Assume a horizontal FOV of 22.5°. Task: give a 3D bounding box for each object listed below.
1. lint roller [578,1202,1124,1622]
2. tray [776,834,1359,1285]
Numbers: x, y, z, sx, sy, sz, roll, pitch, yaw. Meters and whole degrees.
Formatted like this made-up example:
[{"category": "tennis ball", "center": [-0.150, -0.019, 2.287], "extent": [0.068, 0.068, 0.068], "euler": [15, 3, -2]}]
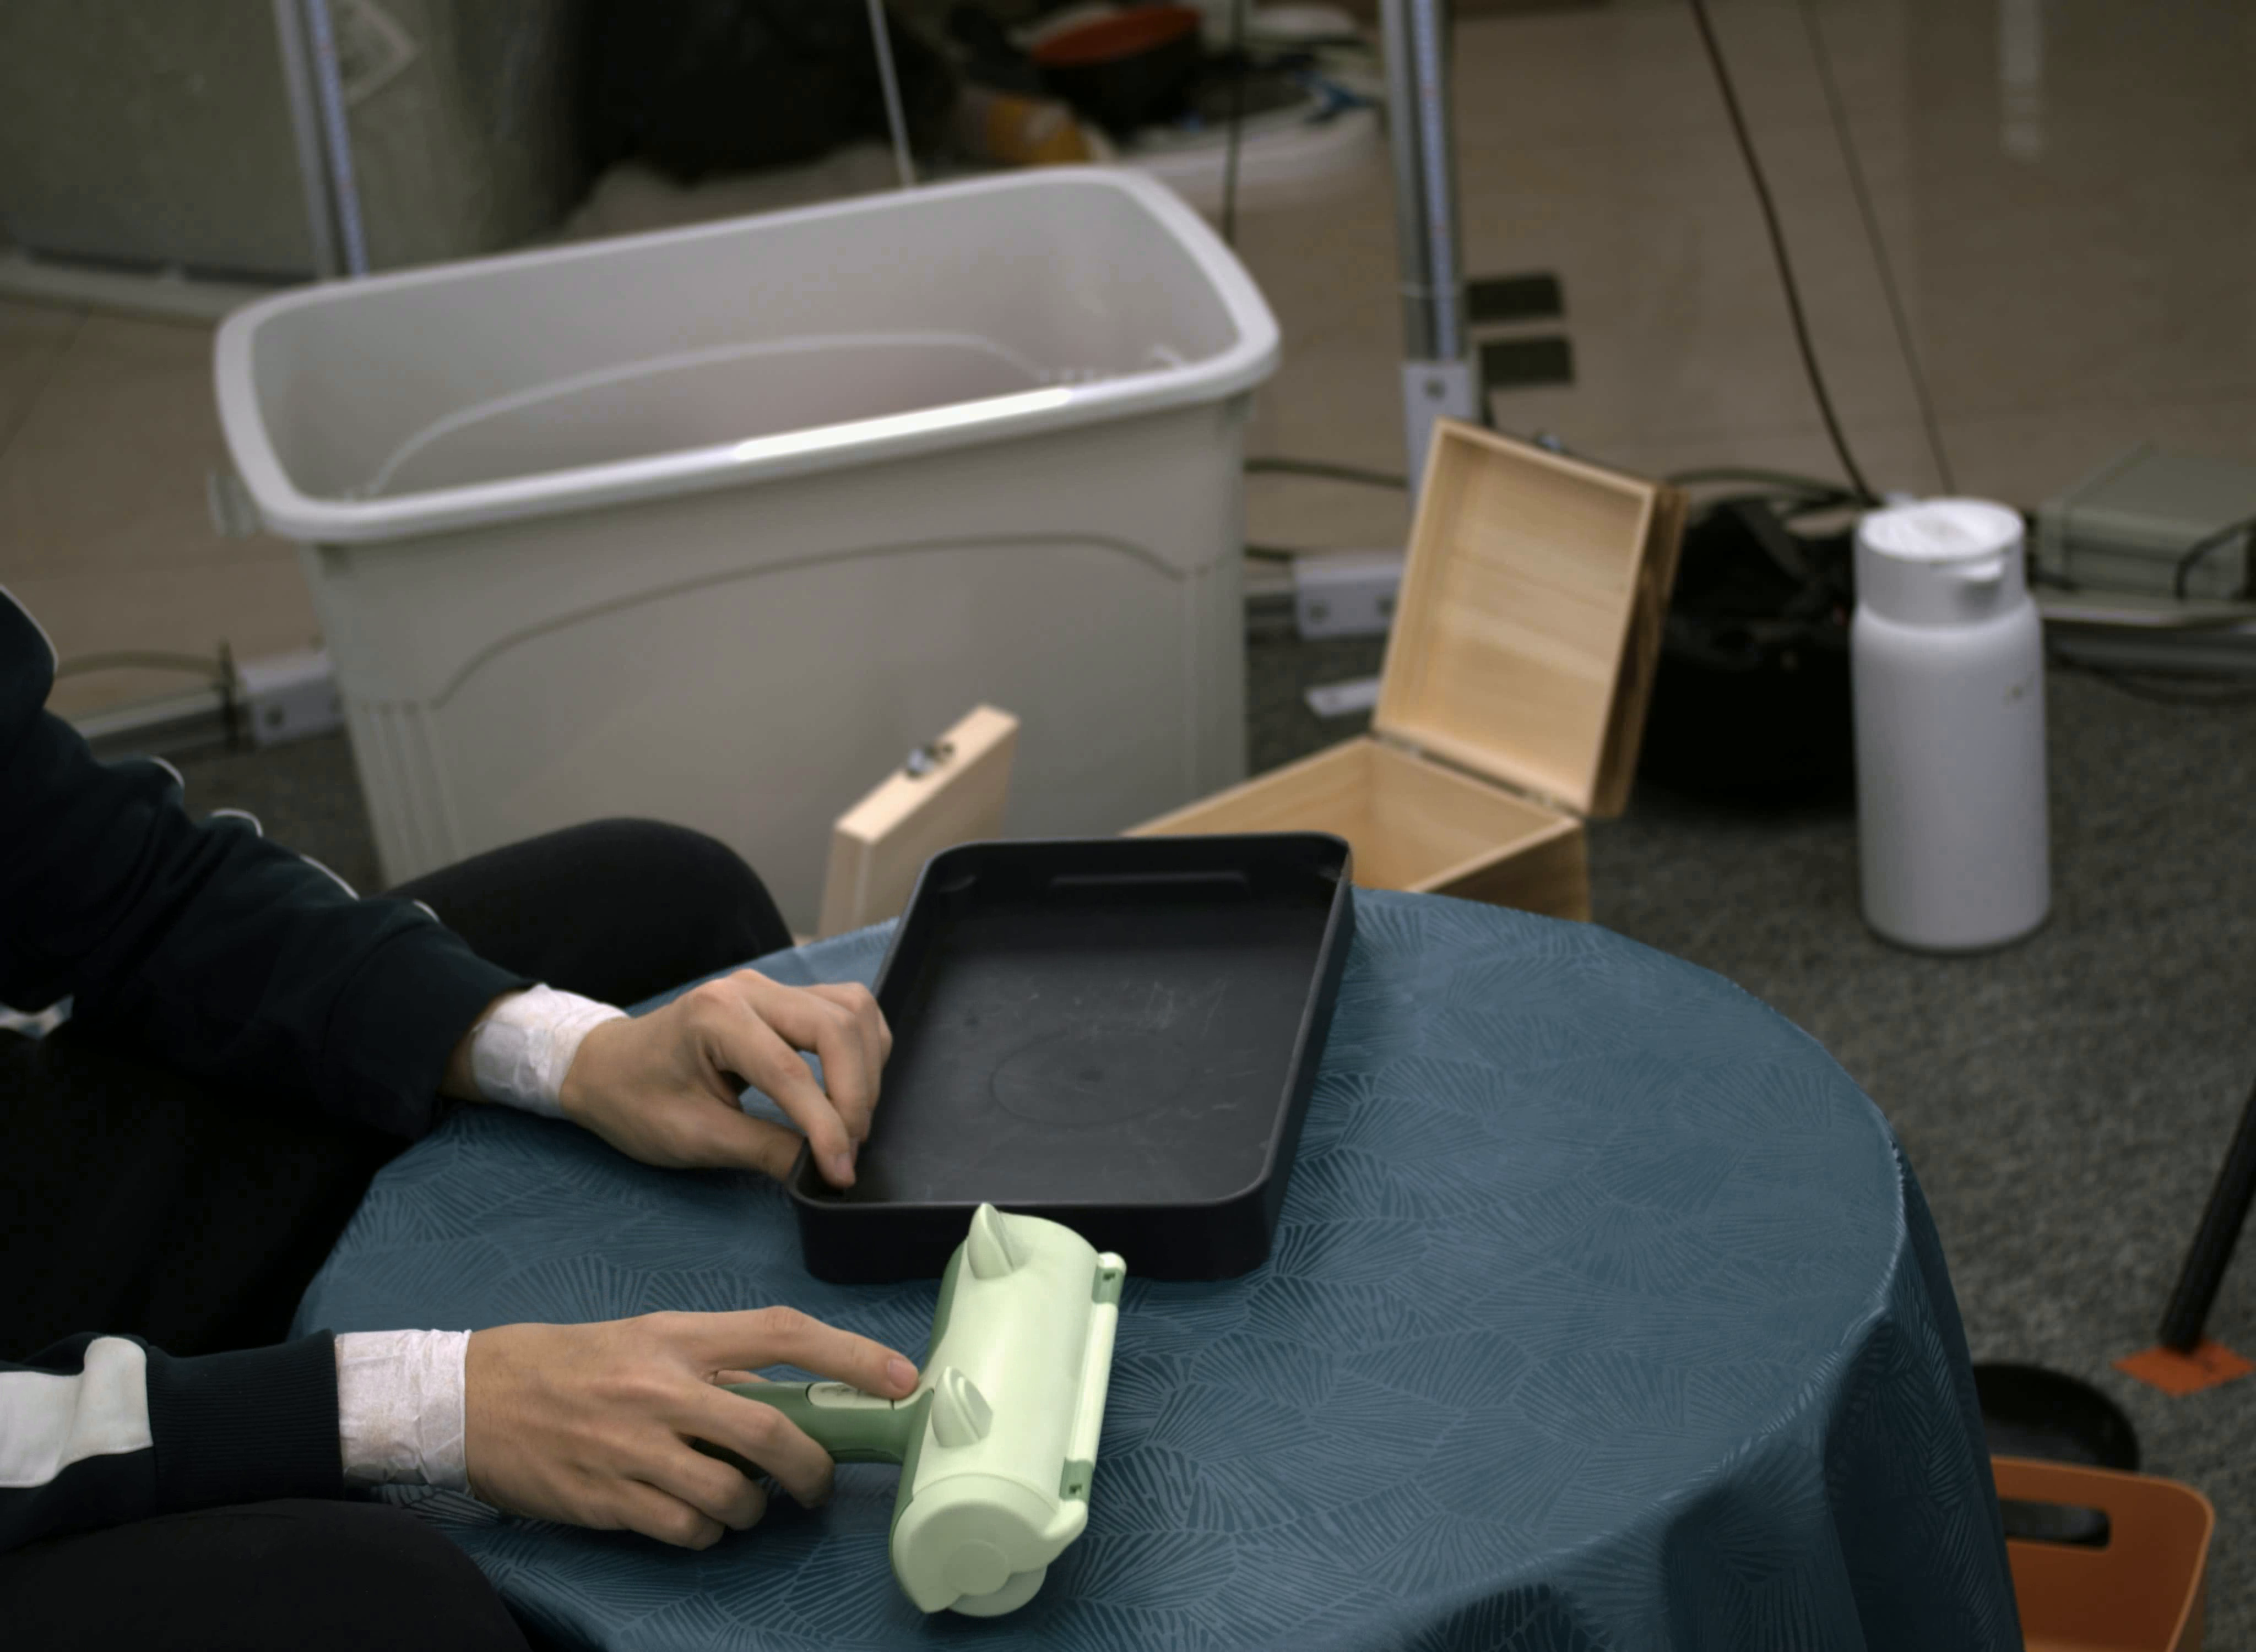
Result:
[{"category": "lint roller", "center": [-0.099, 0.192, 1.951], "extent": [0.183, 0.083, 0.195], "euler": [3, 26, 4]}, {"category": "tray", "center": [-0.016, 0.087, 2.215], "extent": [0.184, 0.037, 0.313], "euler": [-1, 25, 11]}]
